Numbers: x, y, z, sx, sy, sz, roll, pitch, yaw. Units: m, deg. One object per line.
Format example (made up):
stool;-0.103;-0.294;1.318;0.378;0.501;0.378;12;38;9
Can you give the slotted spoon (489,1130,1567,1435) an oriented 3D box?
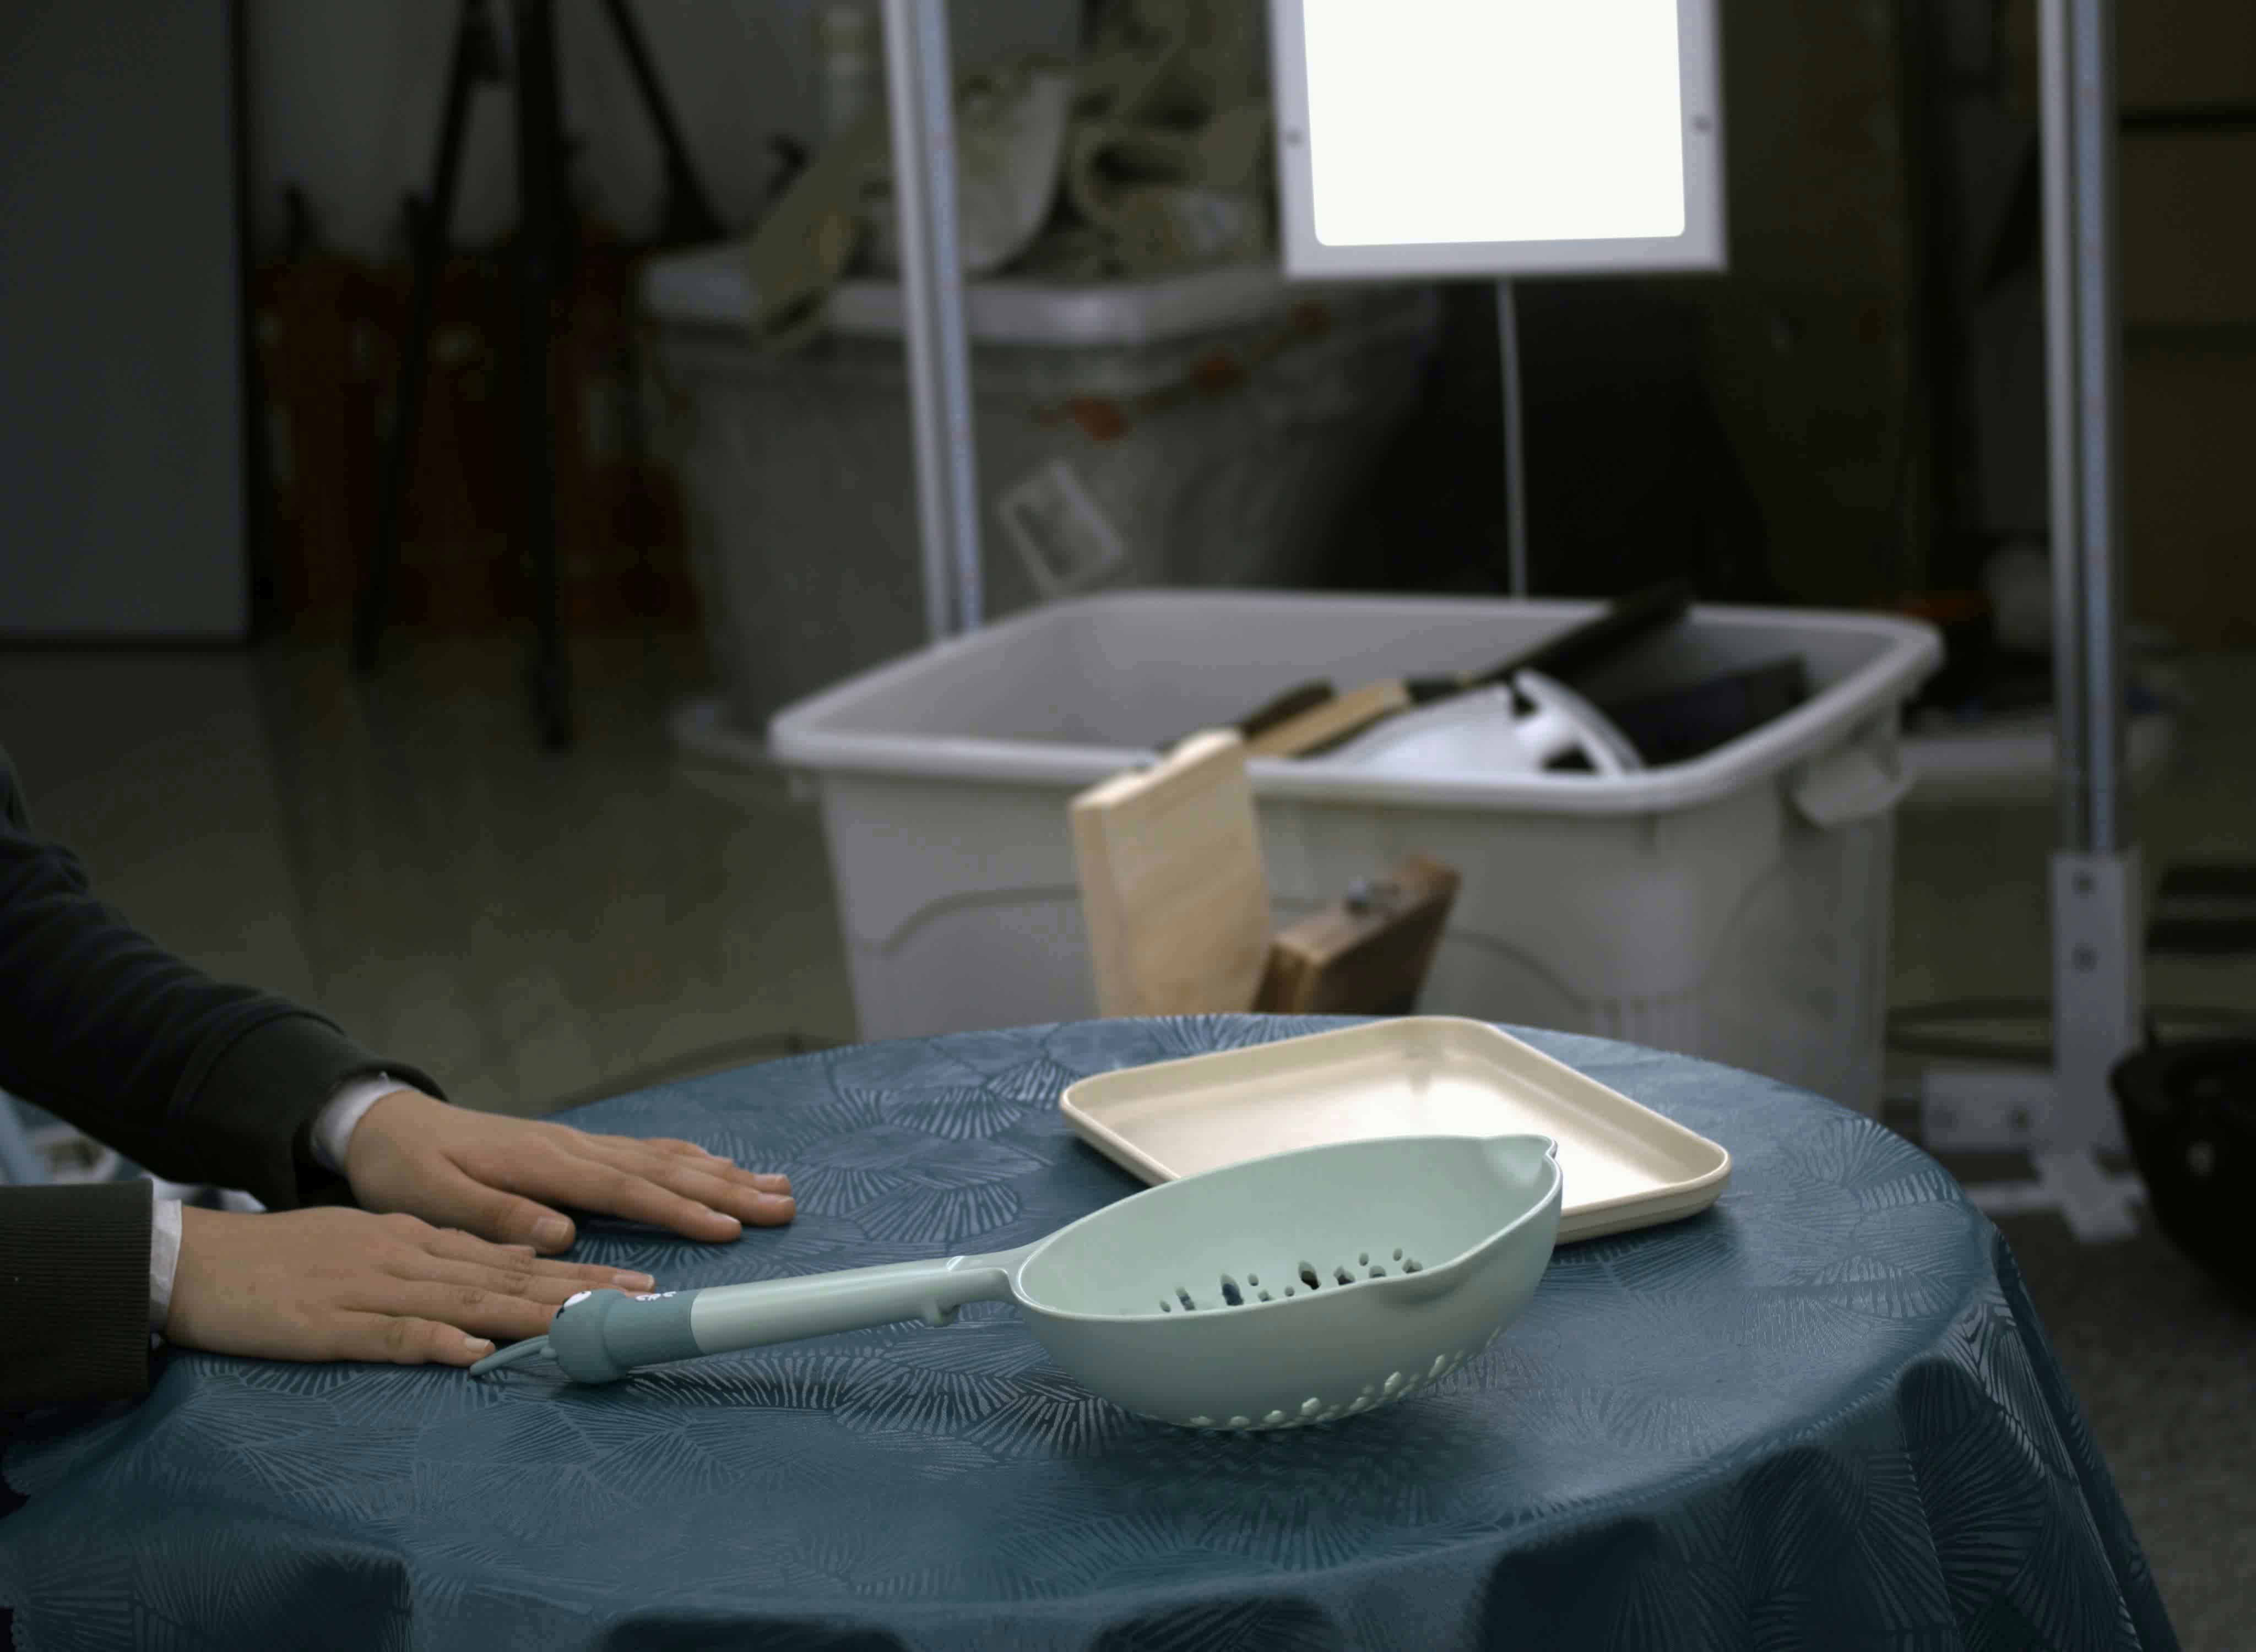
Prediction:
slotted spoon;-0.038;0.145;1.702;0.363;0.075;0.166;0;14;21

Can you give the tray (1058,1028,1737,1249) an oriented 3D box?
tray;0.090;0.112;1.892;0.168;0.017;0.243;-10;14;-20
